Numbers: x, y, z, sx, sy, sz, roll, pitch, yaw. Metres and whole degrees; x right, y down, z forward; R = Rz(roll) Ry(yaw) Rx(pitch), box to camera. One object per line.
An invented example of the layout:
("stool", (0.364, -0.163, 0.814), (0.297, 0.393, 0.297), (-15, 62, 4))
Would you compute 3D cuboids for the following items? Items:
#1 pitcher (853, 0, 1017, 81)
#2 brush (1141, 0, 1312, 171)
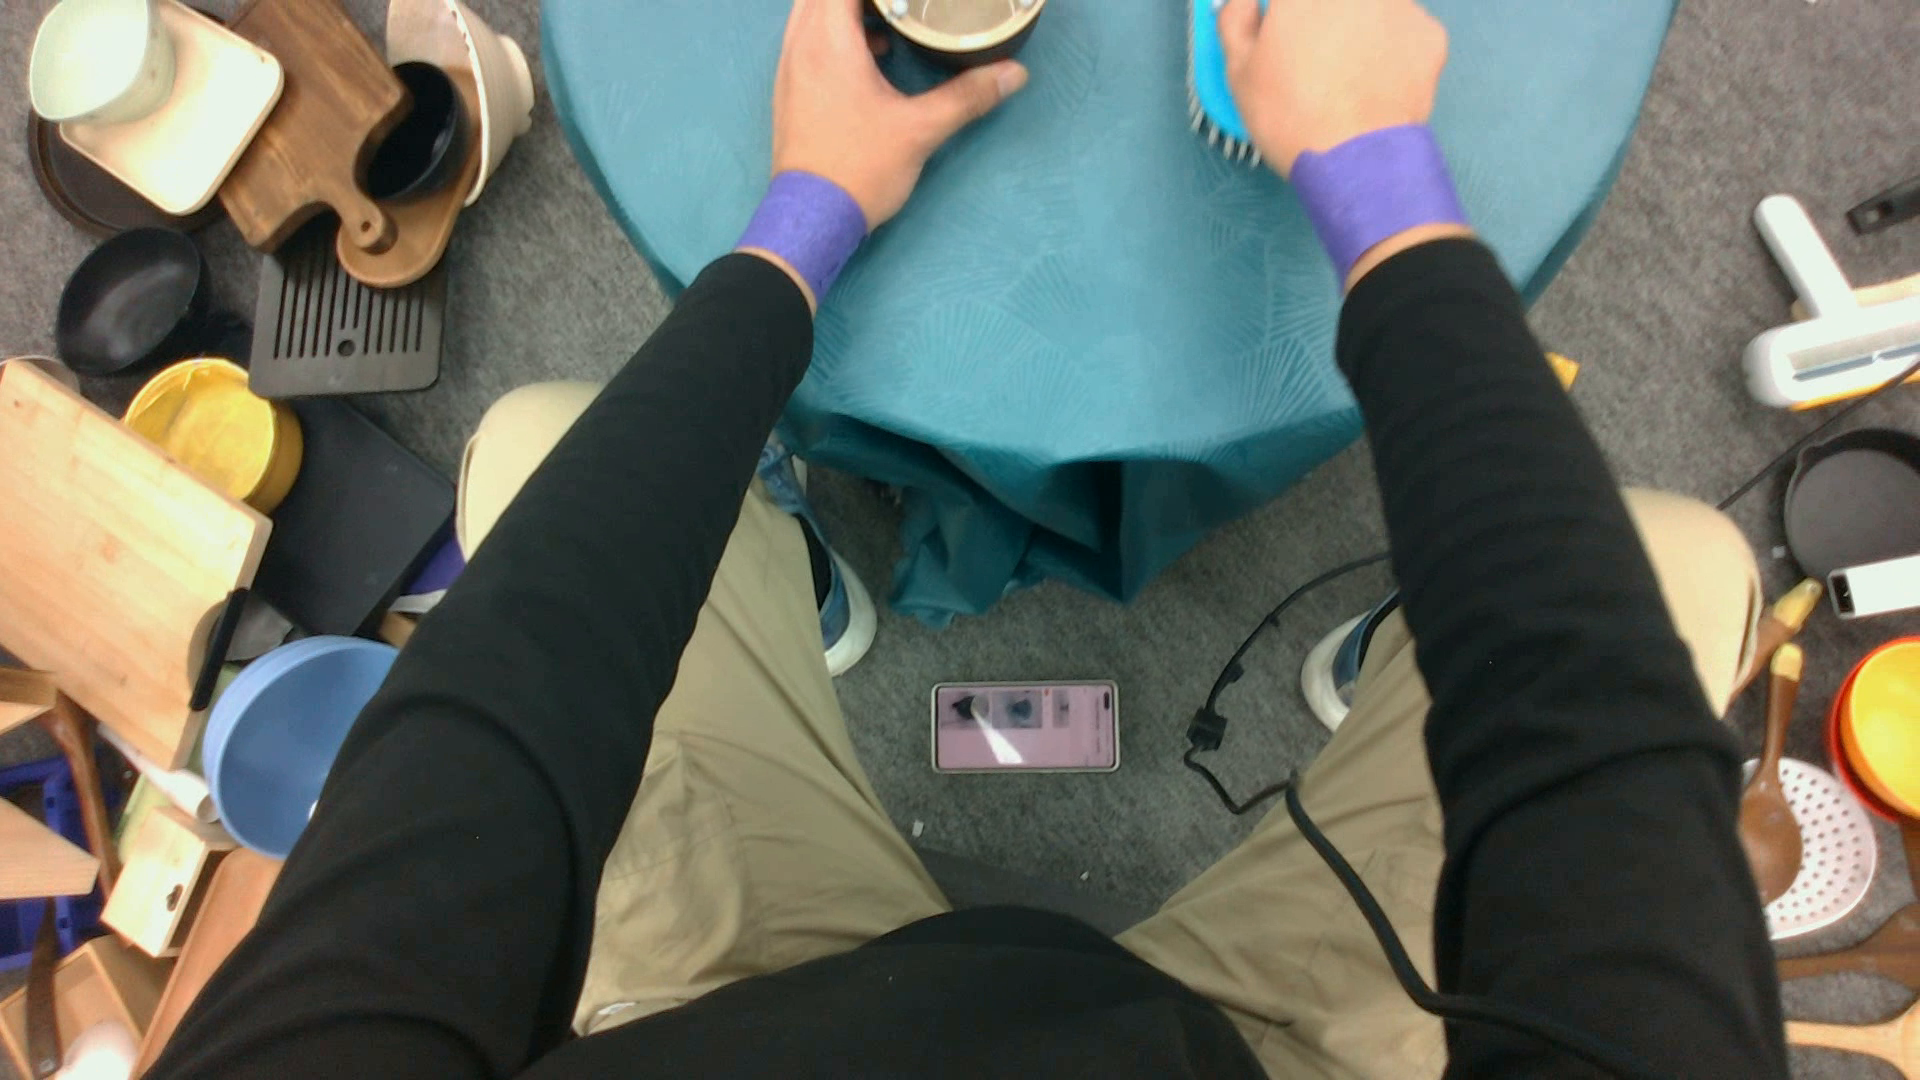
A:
("pitcher", (-0.010, -0.276, 0.691), (0.083, 0.071, 0.096), (10, 82, 5))
("brush", (0.136, -0.262, 0.686), (0.084, 0.063, 0.142), (3, 84, -1))
